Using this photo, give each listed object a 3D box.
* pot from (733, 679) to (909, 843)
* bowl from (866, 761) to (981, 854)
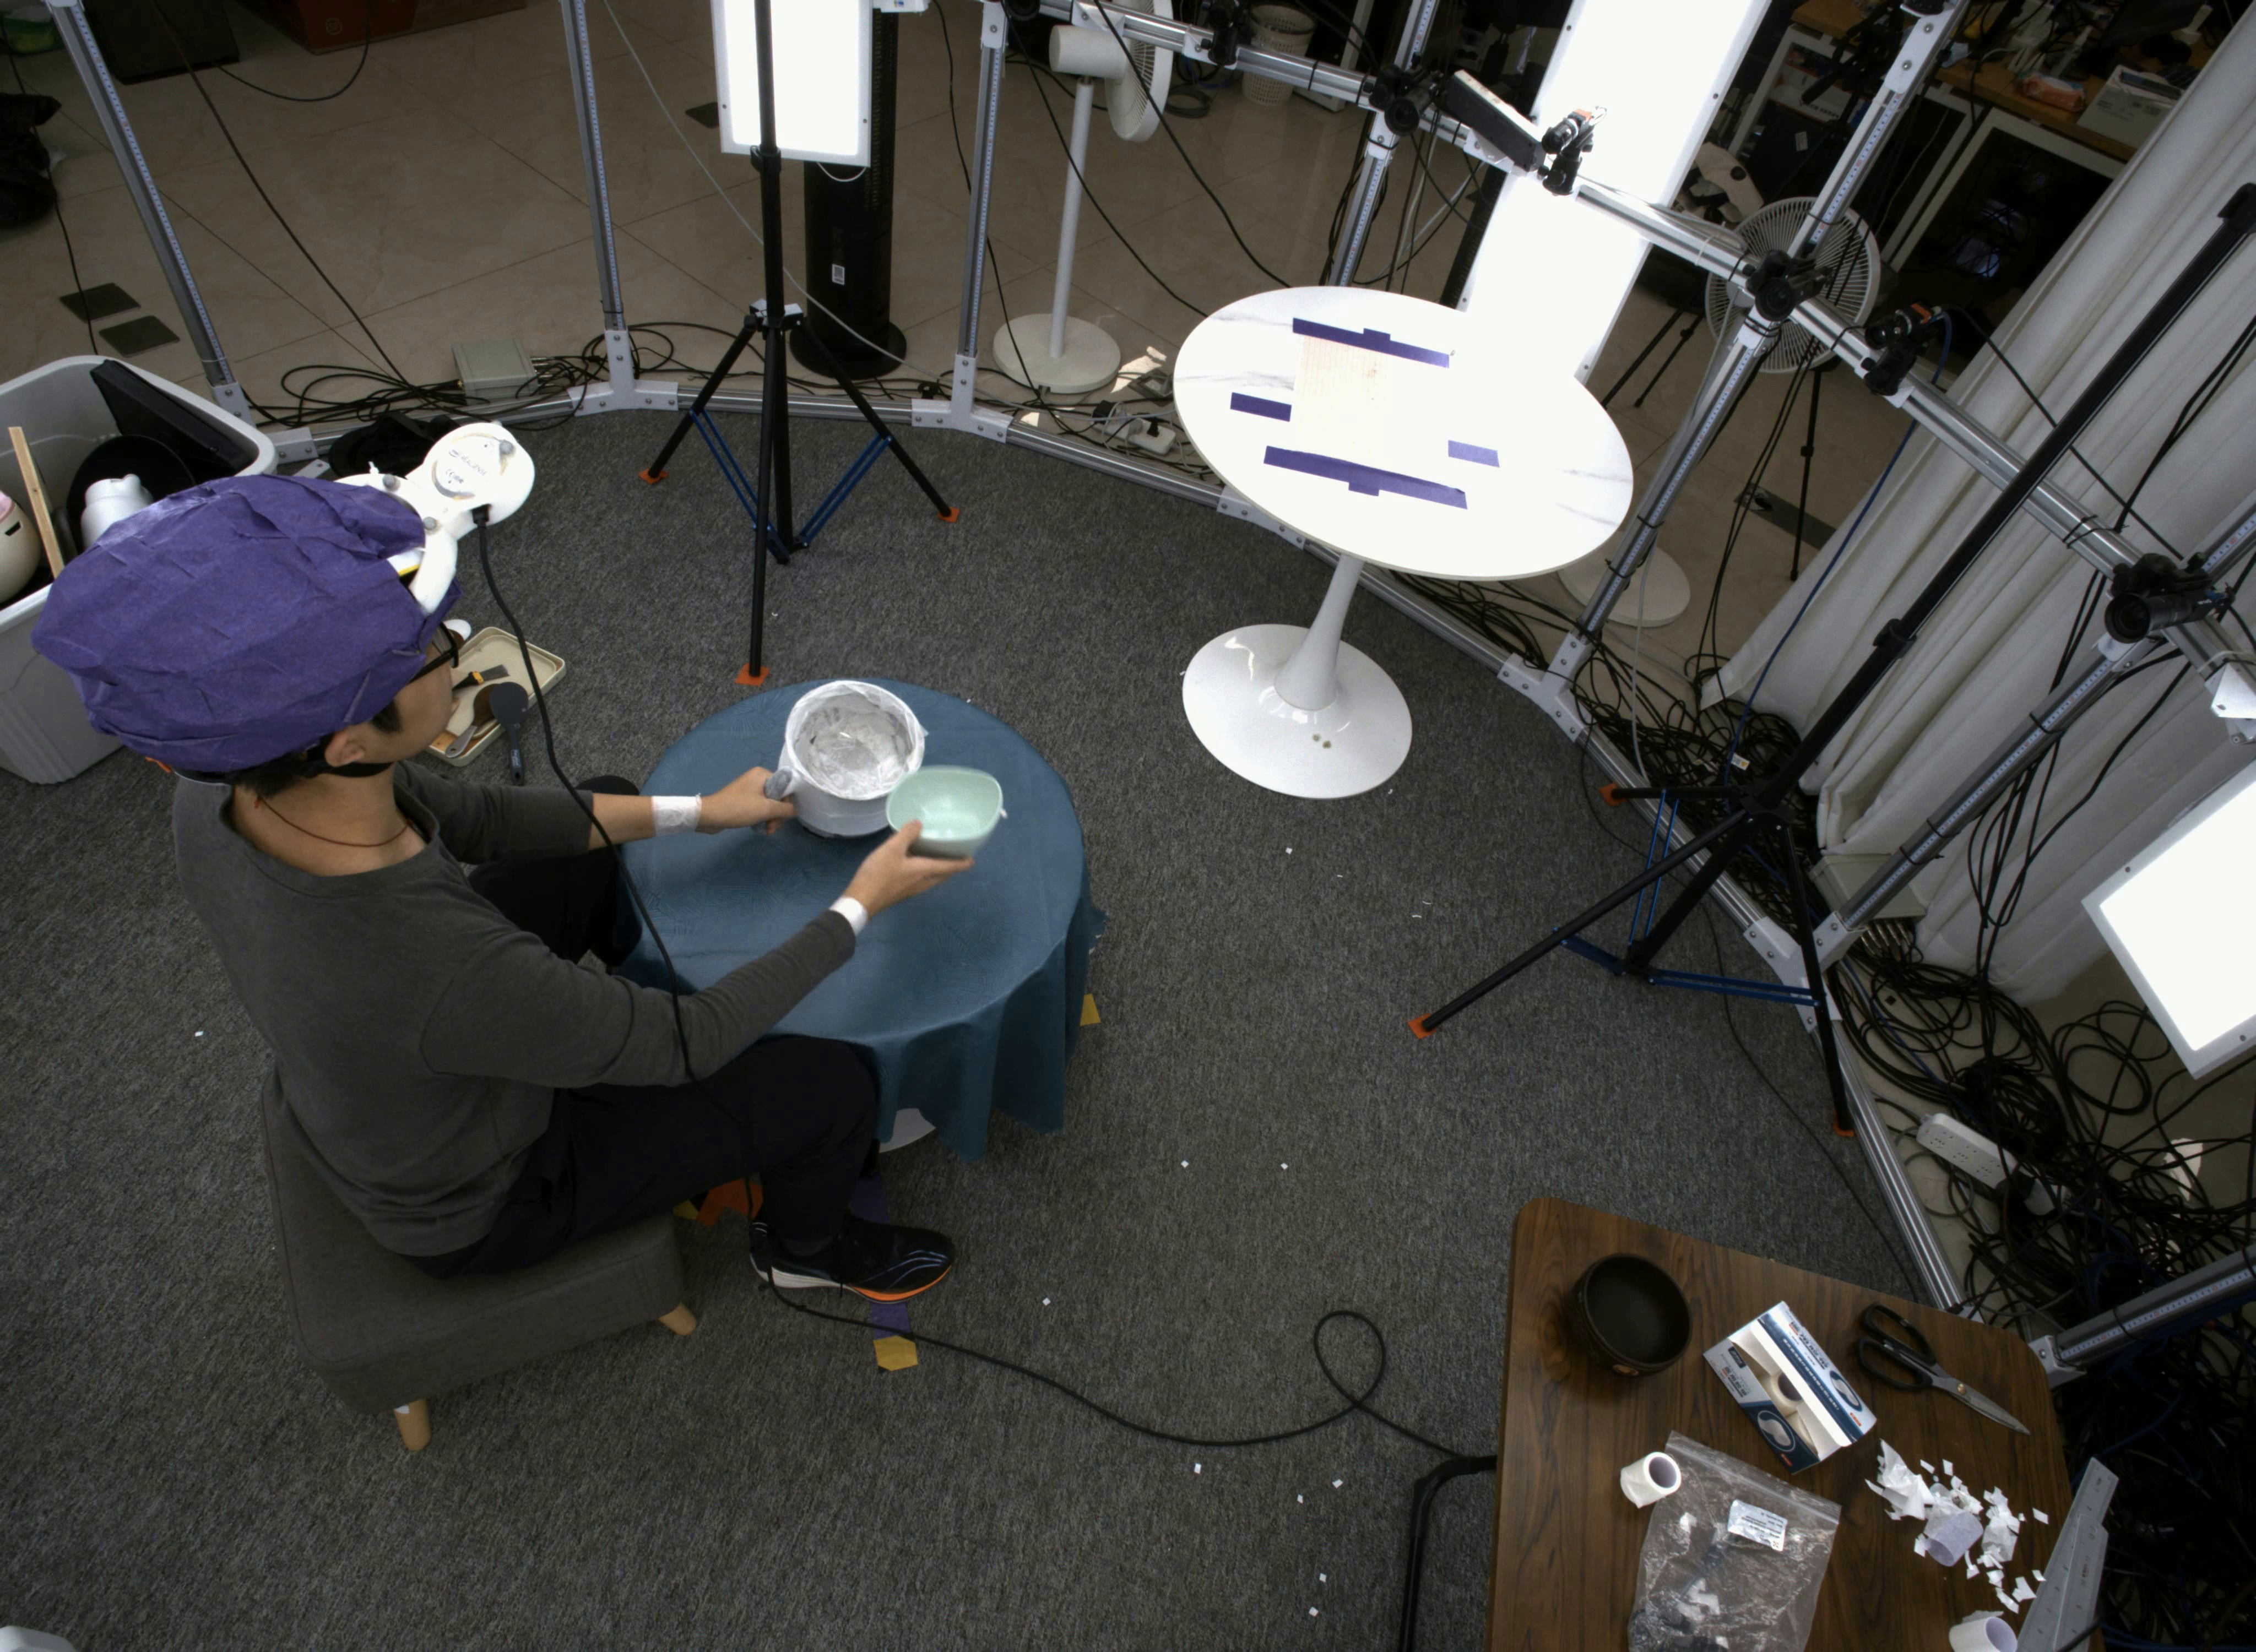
[{"bbox_3d":[-0.405,-0.068,1.688,0.234,0.137,0.177,-34,79,-32],"label":"pot"},{"bbox_3d":[-0.249,-0.015,1.598,0.150,0.060,0.148,4,41,-2],"label":"bowl"}]
